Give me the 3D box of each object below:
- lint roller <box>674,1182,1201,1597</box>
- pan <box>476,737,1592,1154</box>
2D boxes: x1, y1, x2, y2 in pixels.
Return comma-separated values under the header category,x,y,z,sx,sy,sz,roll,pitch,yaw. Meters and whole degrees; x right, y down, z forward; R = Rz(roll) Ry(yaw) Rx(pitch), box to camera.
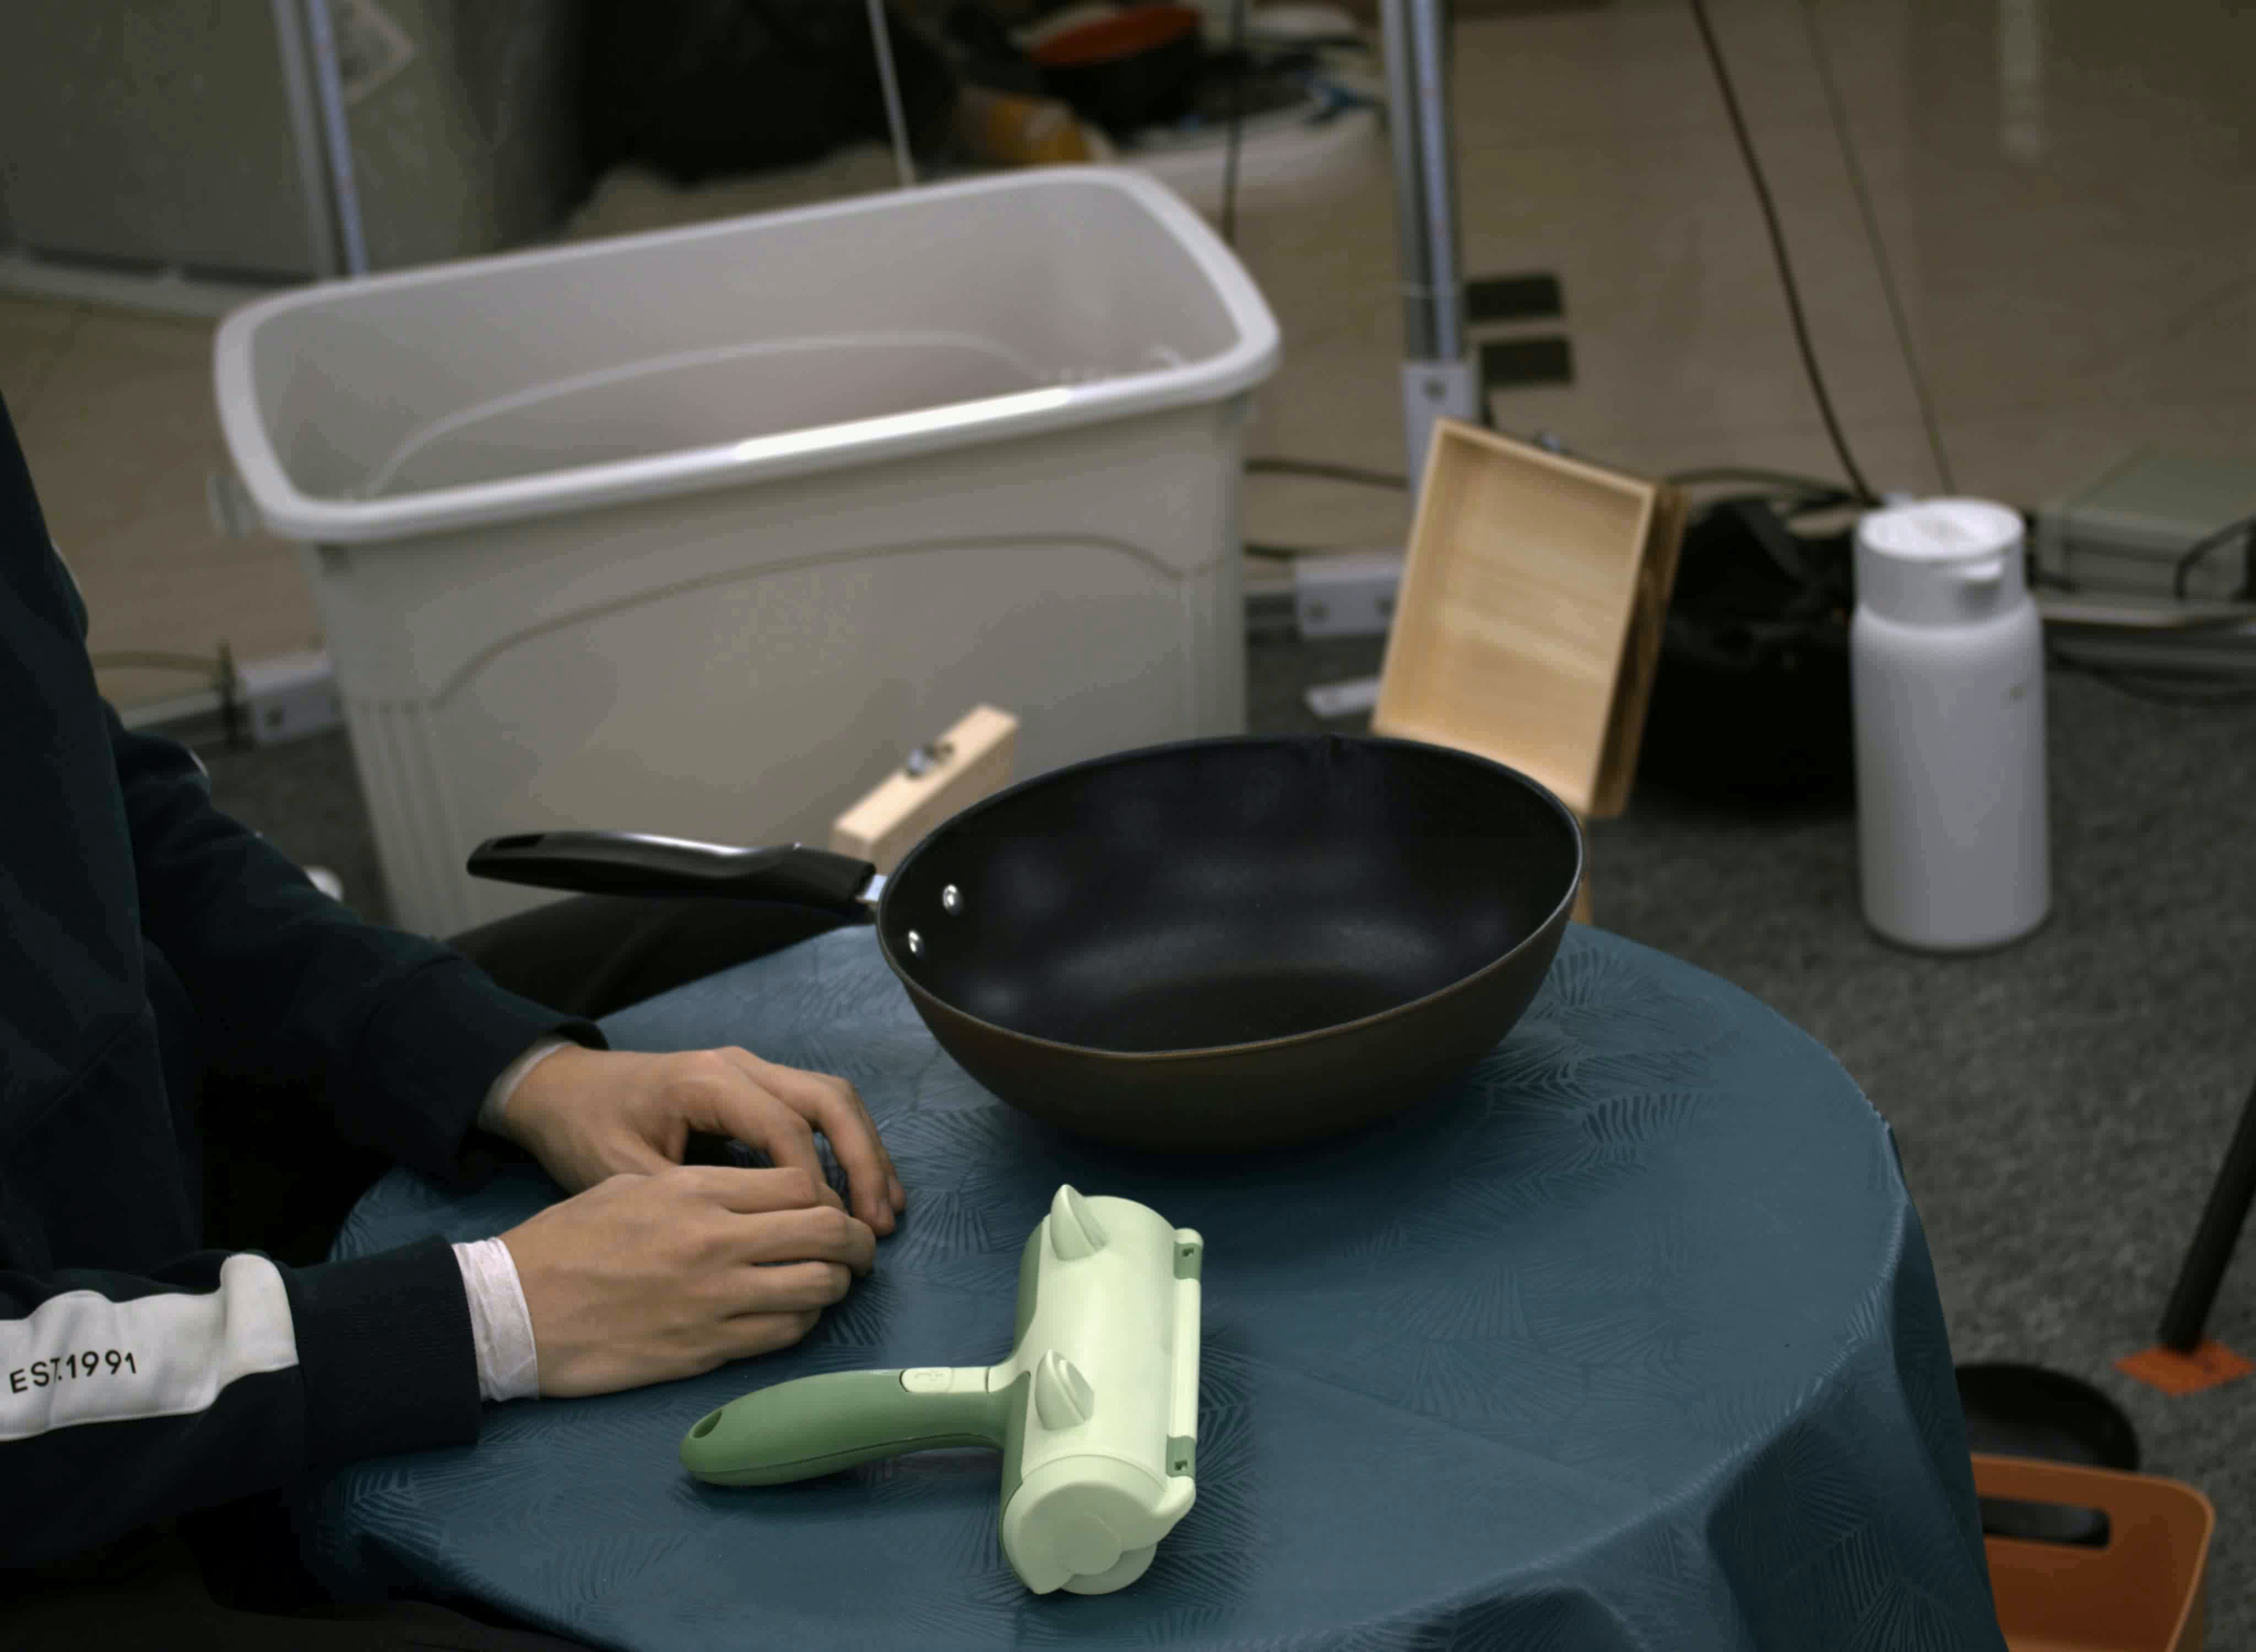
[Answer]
category,x,y,z,sx,sy,sz,roll,pitch,yaw
lint roller,-0.068,0.188,1.965,0.183,0.083,0.195,0,26,2
pan,-0.042,0.053,2.239,0.462,0.088,0.284,1,25,19
